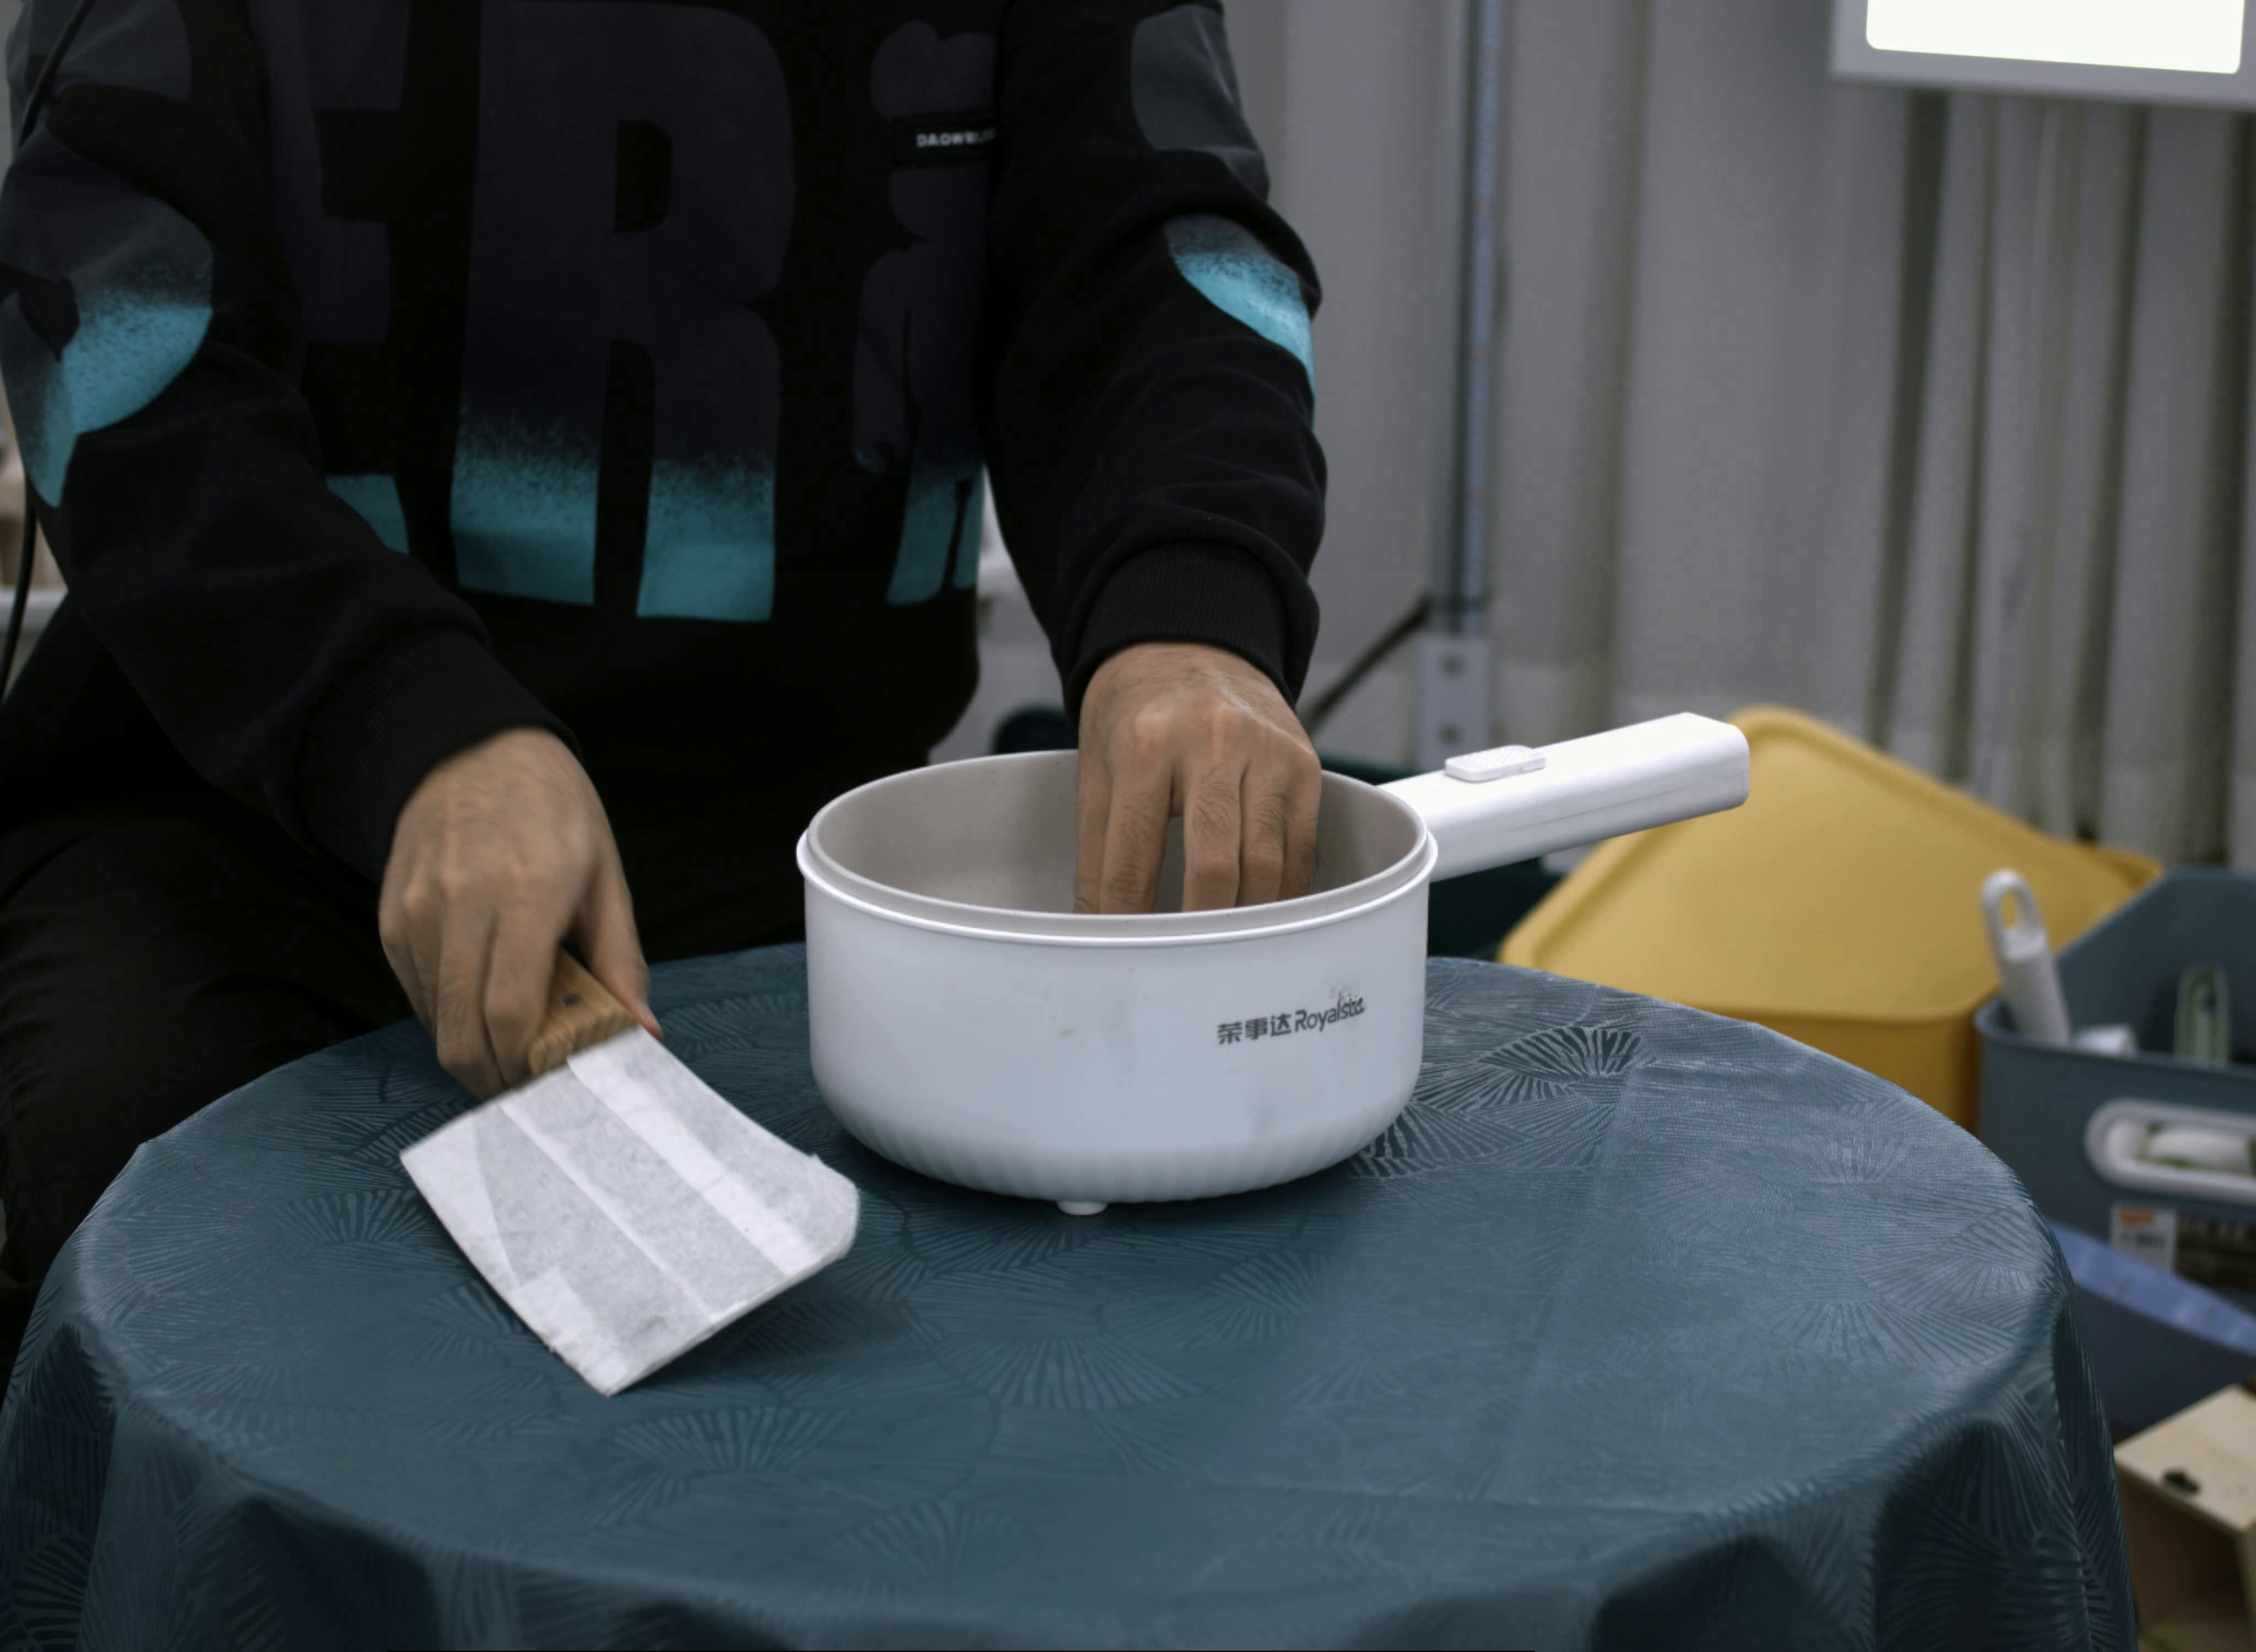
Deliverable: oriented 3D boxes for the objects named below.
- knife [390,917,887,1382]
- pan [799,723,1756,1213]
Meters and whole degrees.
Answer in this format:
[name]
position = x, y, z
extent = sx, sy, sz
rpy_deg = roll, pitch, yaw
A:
[knife]
position = -0.164, 0.090, 1.600
extent = 0.114, 0.022, 0.311
rpy_deg = -26, 26, -13
[pan]
position = 0.059, 0.038, 1.707
extent = 0.356, 0.103, 0.198
rpy_deg = -10, 18, -36
